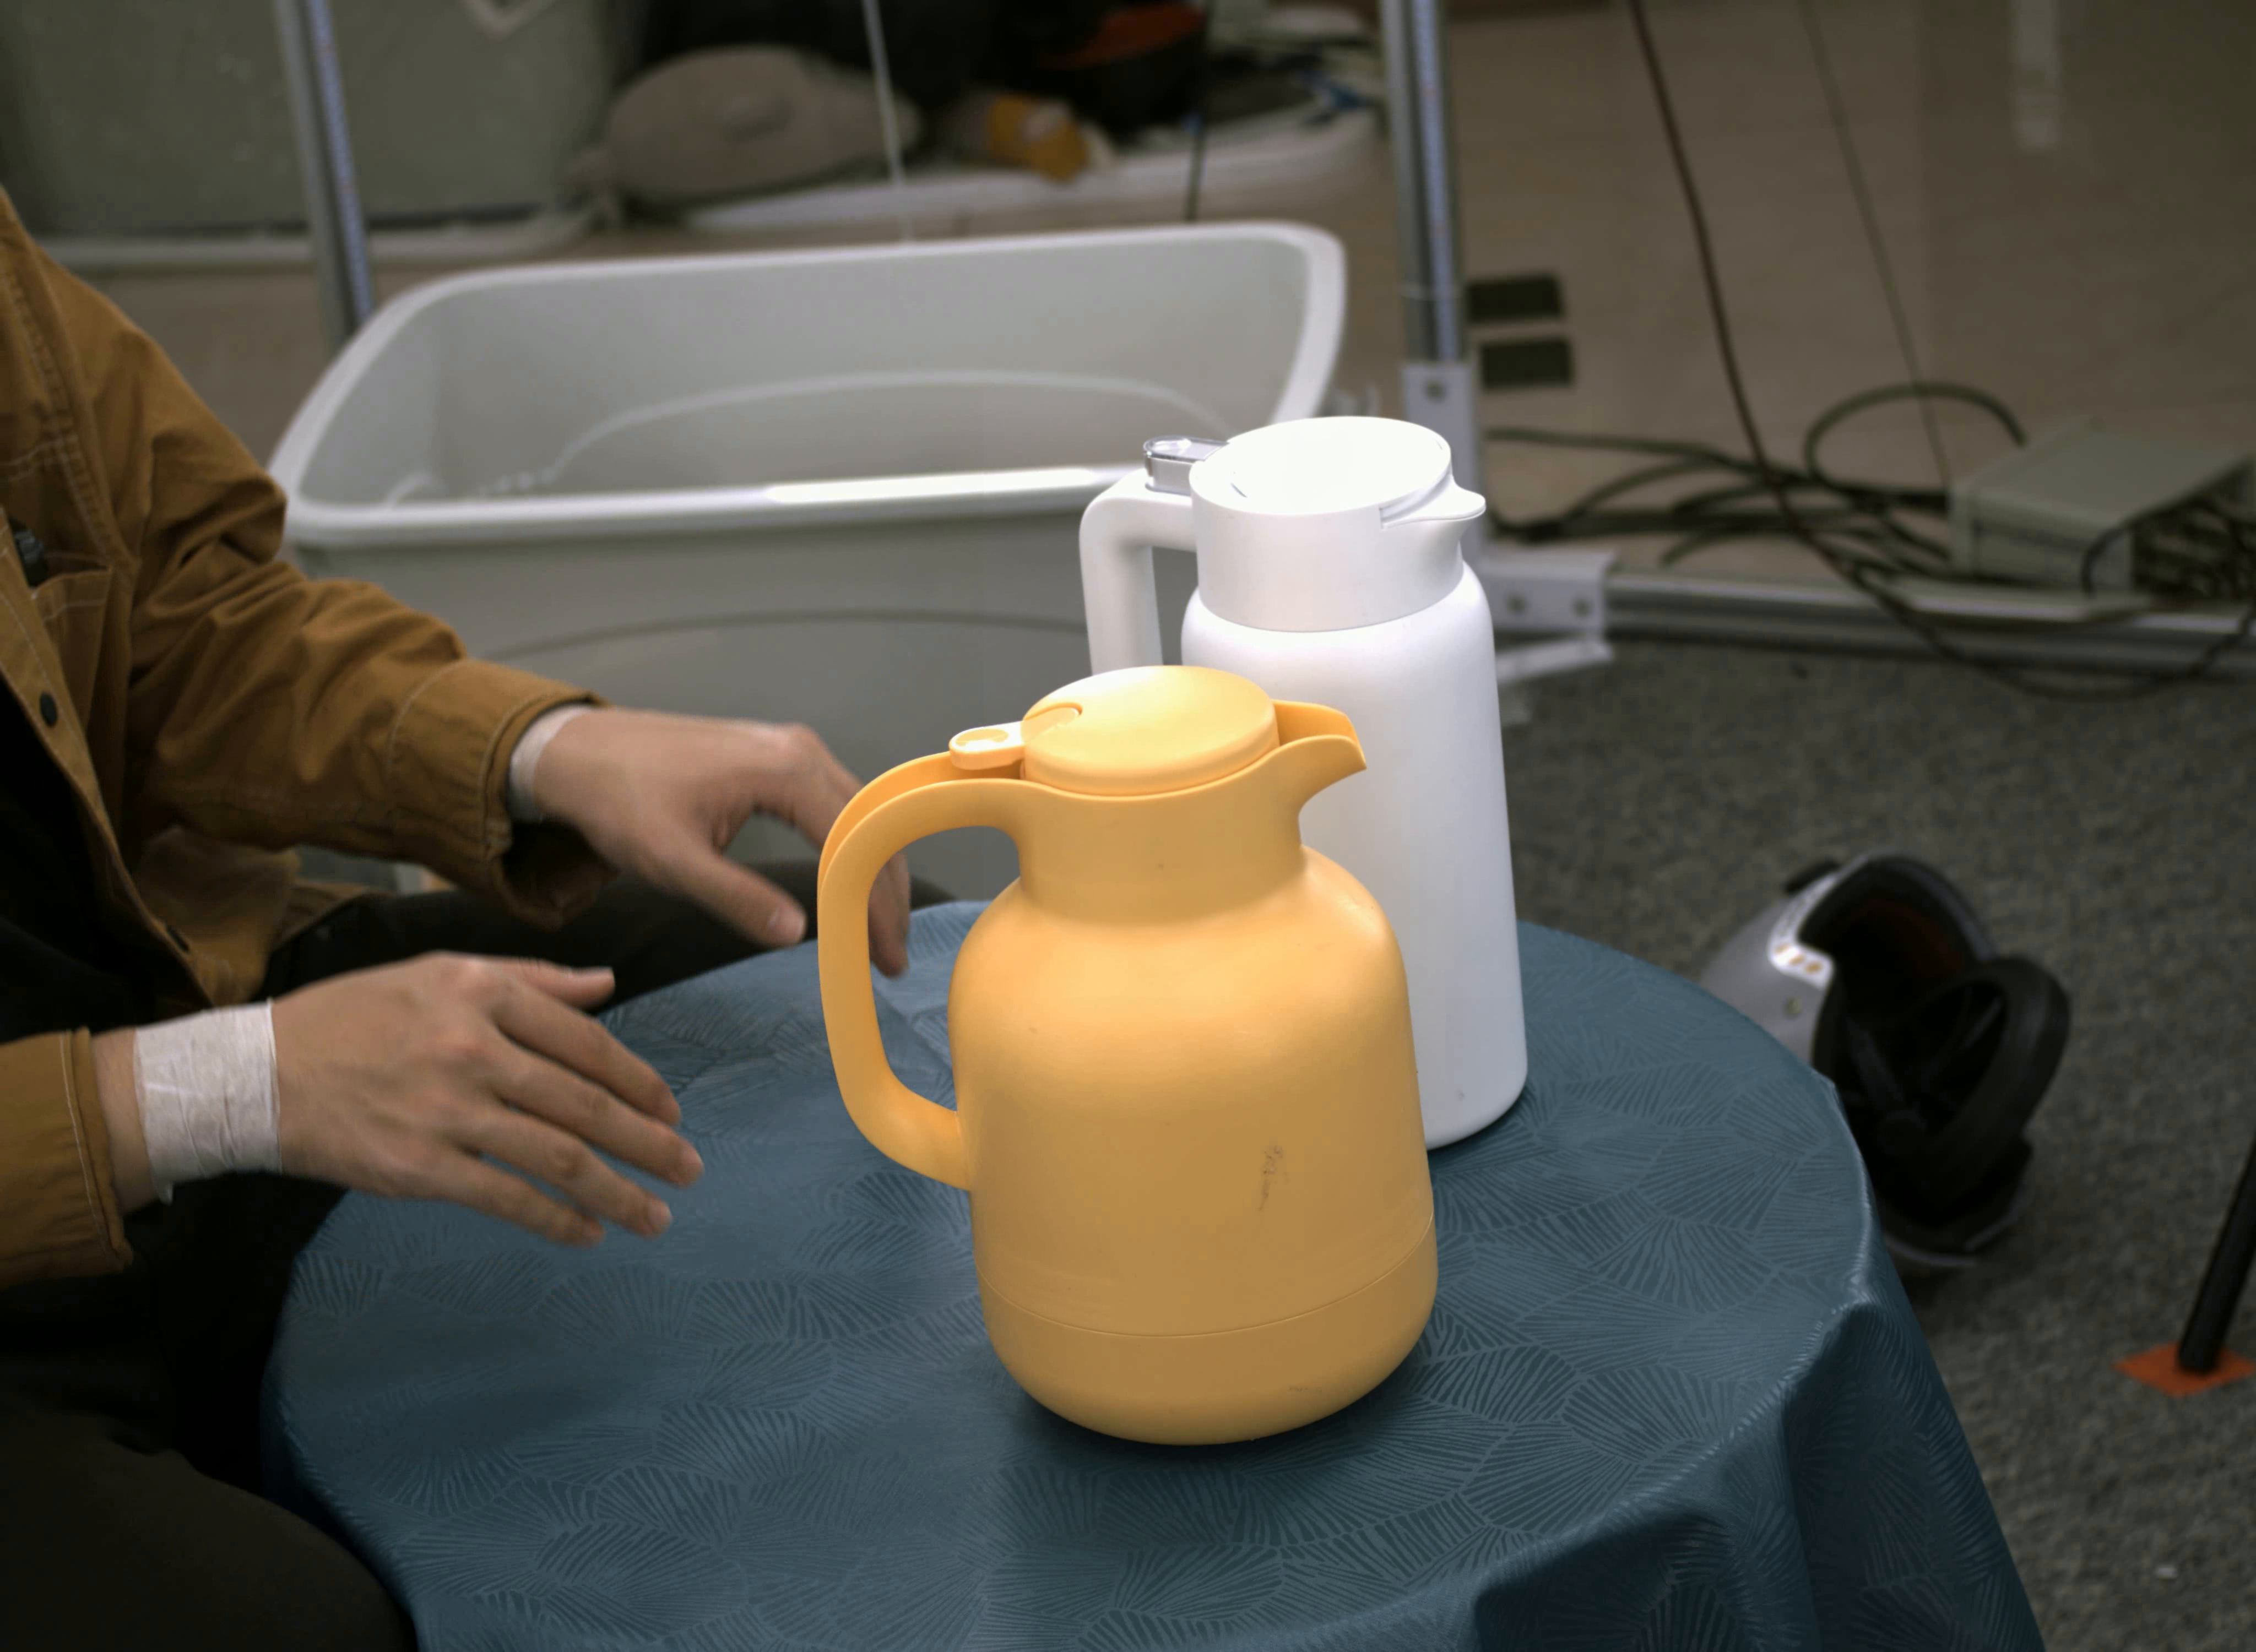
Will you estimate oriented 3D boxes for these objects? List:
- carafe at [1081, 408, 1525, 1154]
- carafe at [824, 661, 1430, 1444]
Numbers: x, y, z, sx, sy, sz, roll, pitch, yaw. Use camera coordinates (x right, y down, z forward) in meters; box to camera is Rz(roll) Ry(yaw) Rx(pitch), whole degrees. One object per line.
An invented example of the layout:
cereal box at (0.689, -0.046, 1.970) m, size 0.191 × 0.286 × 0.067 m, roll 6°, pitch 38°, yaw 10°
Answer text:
carafe at (0.068, -0.017, 2.146) m, size 0.172 × 0.273 × 0.122 m, roll 10°, pitch 32°, yaw 30°
carafe at (-0.001, 0.075, 1.970) m, size 0.202 × 0.264 × 0.161 m, roll -5°, pitch 23°, yaw 1°
